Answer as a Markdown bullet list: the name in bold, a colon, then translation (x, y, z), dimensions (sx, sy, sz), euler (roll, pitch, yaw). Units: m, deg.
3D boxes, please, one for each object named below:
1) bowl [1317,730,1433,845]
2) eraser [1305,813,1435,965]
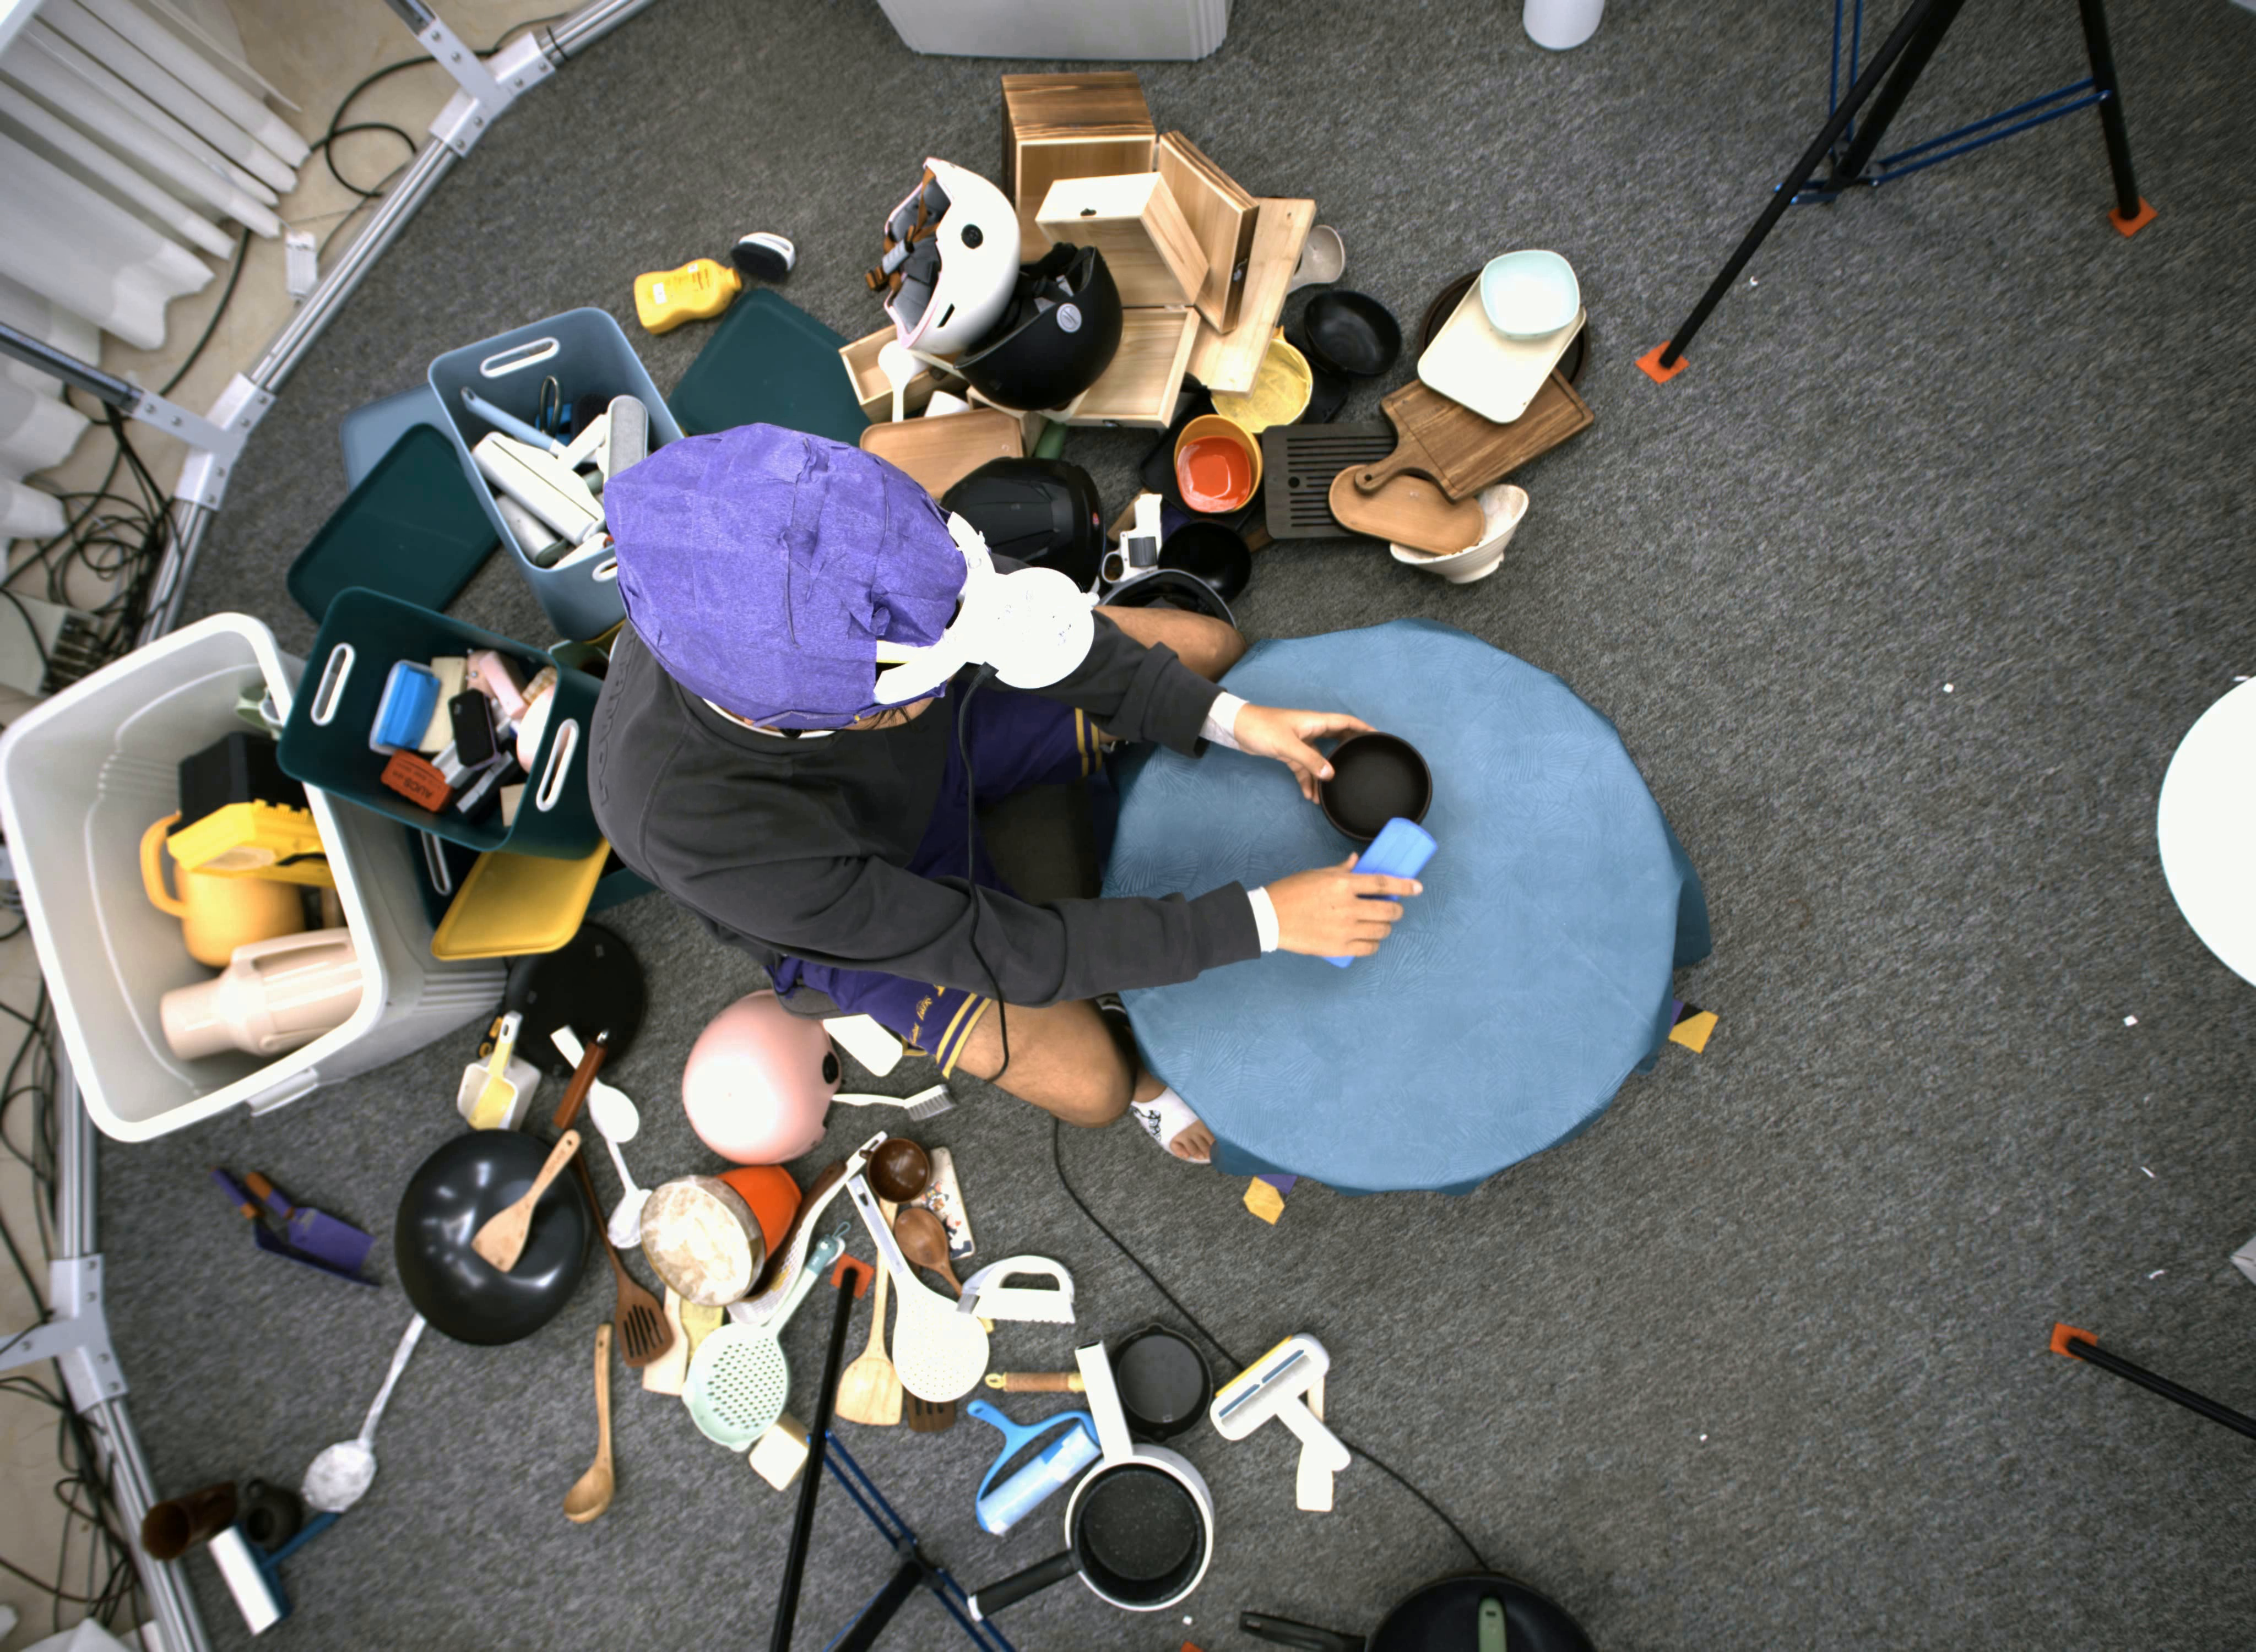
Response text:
- **bowl**: translation (0.256, -0.039, 1.430), dimensions (0.118, 0.070, 0.117), euler (-1, 87, 12)
- **eraser**: translation (0.241, 0.062, 1.379), dimensions (0.054, 0.047, 0.163), euler (36, 100, 8)
